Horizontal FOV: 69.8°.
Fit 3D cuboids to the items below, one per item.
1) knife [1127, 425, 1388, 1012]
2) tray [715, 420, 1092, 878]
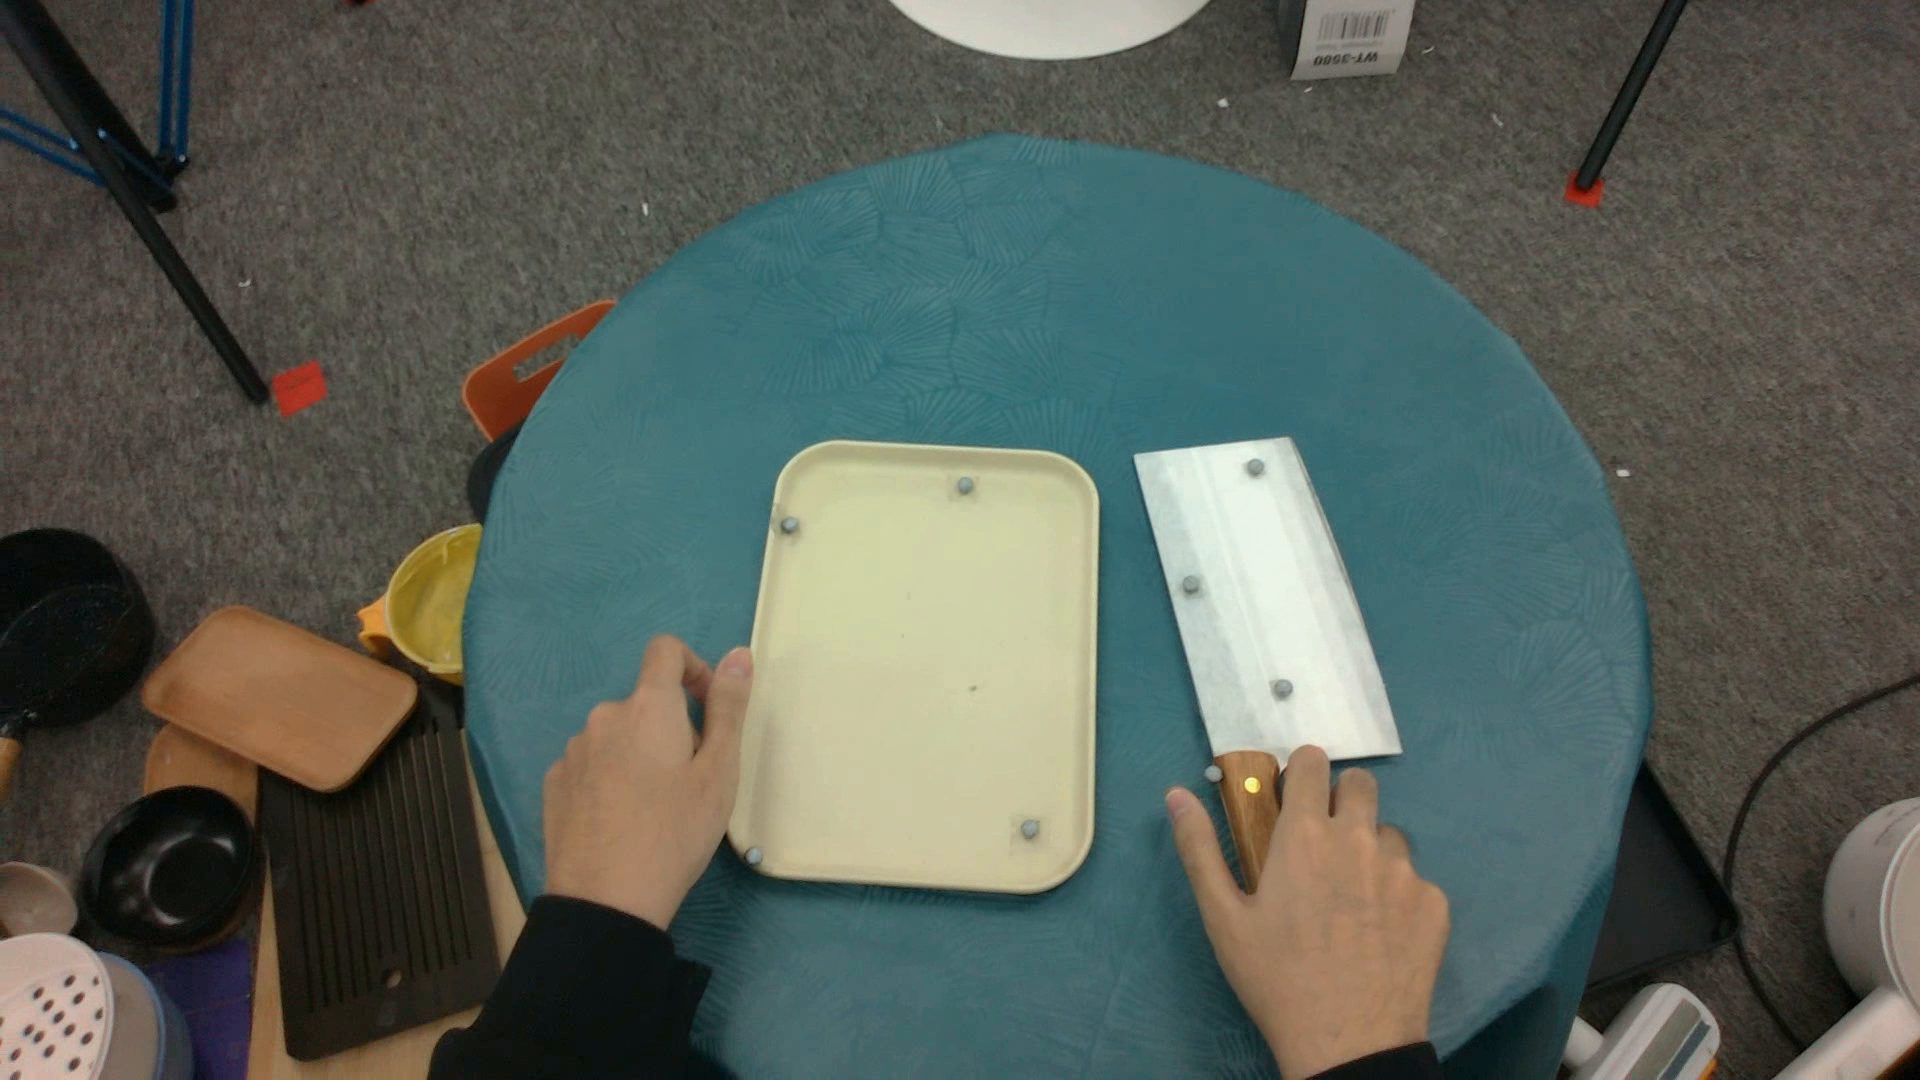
[{"bbox_3d":[0.153,0.067,0.666,0.093,0.021,0.307,-6,57,-6],"label":"knife"},{"bbox_3d":[-0.022,0.046,0.675,0.171,0.017,0.240,4,60,1],"label":"tray"}]
